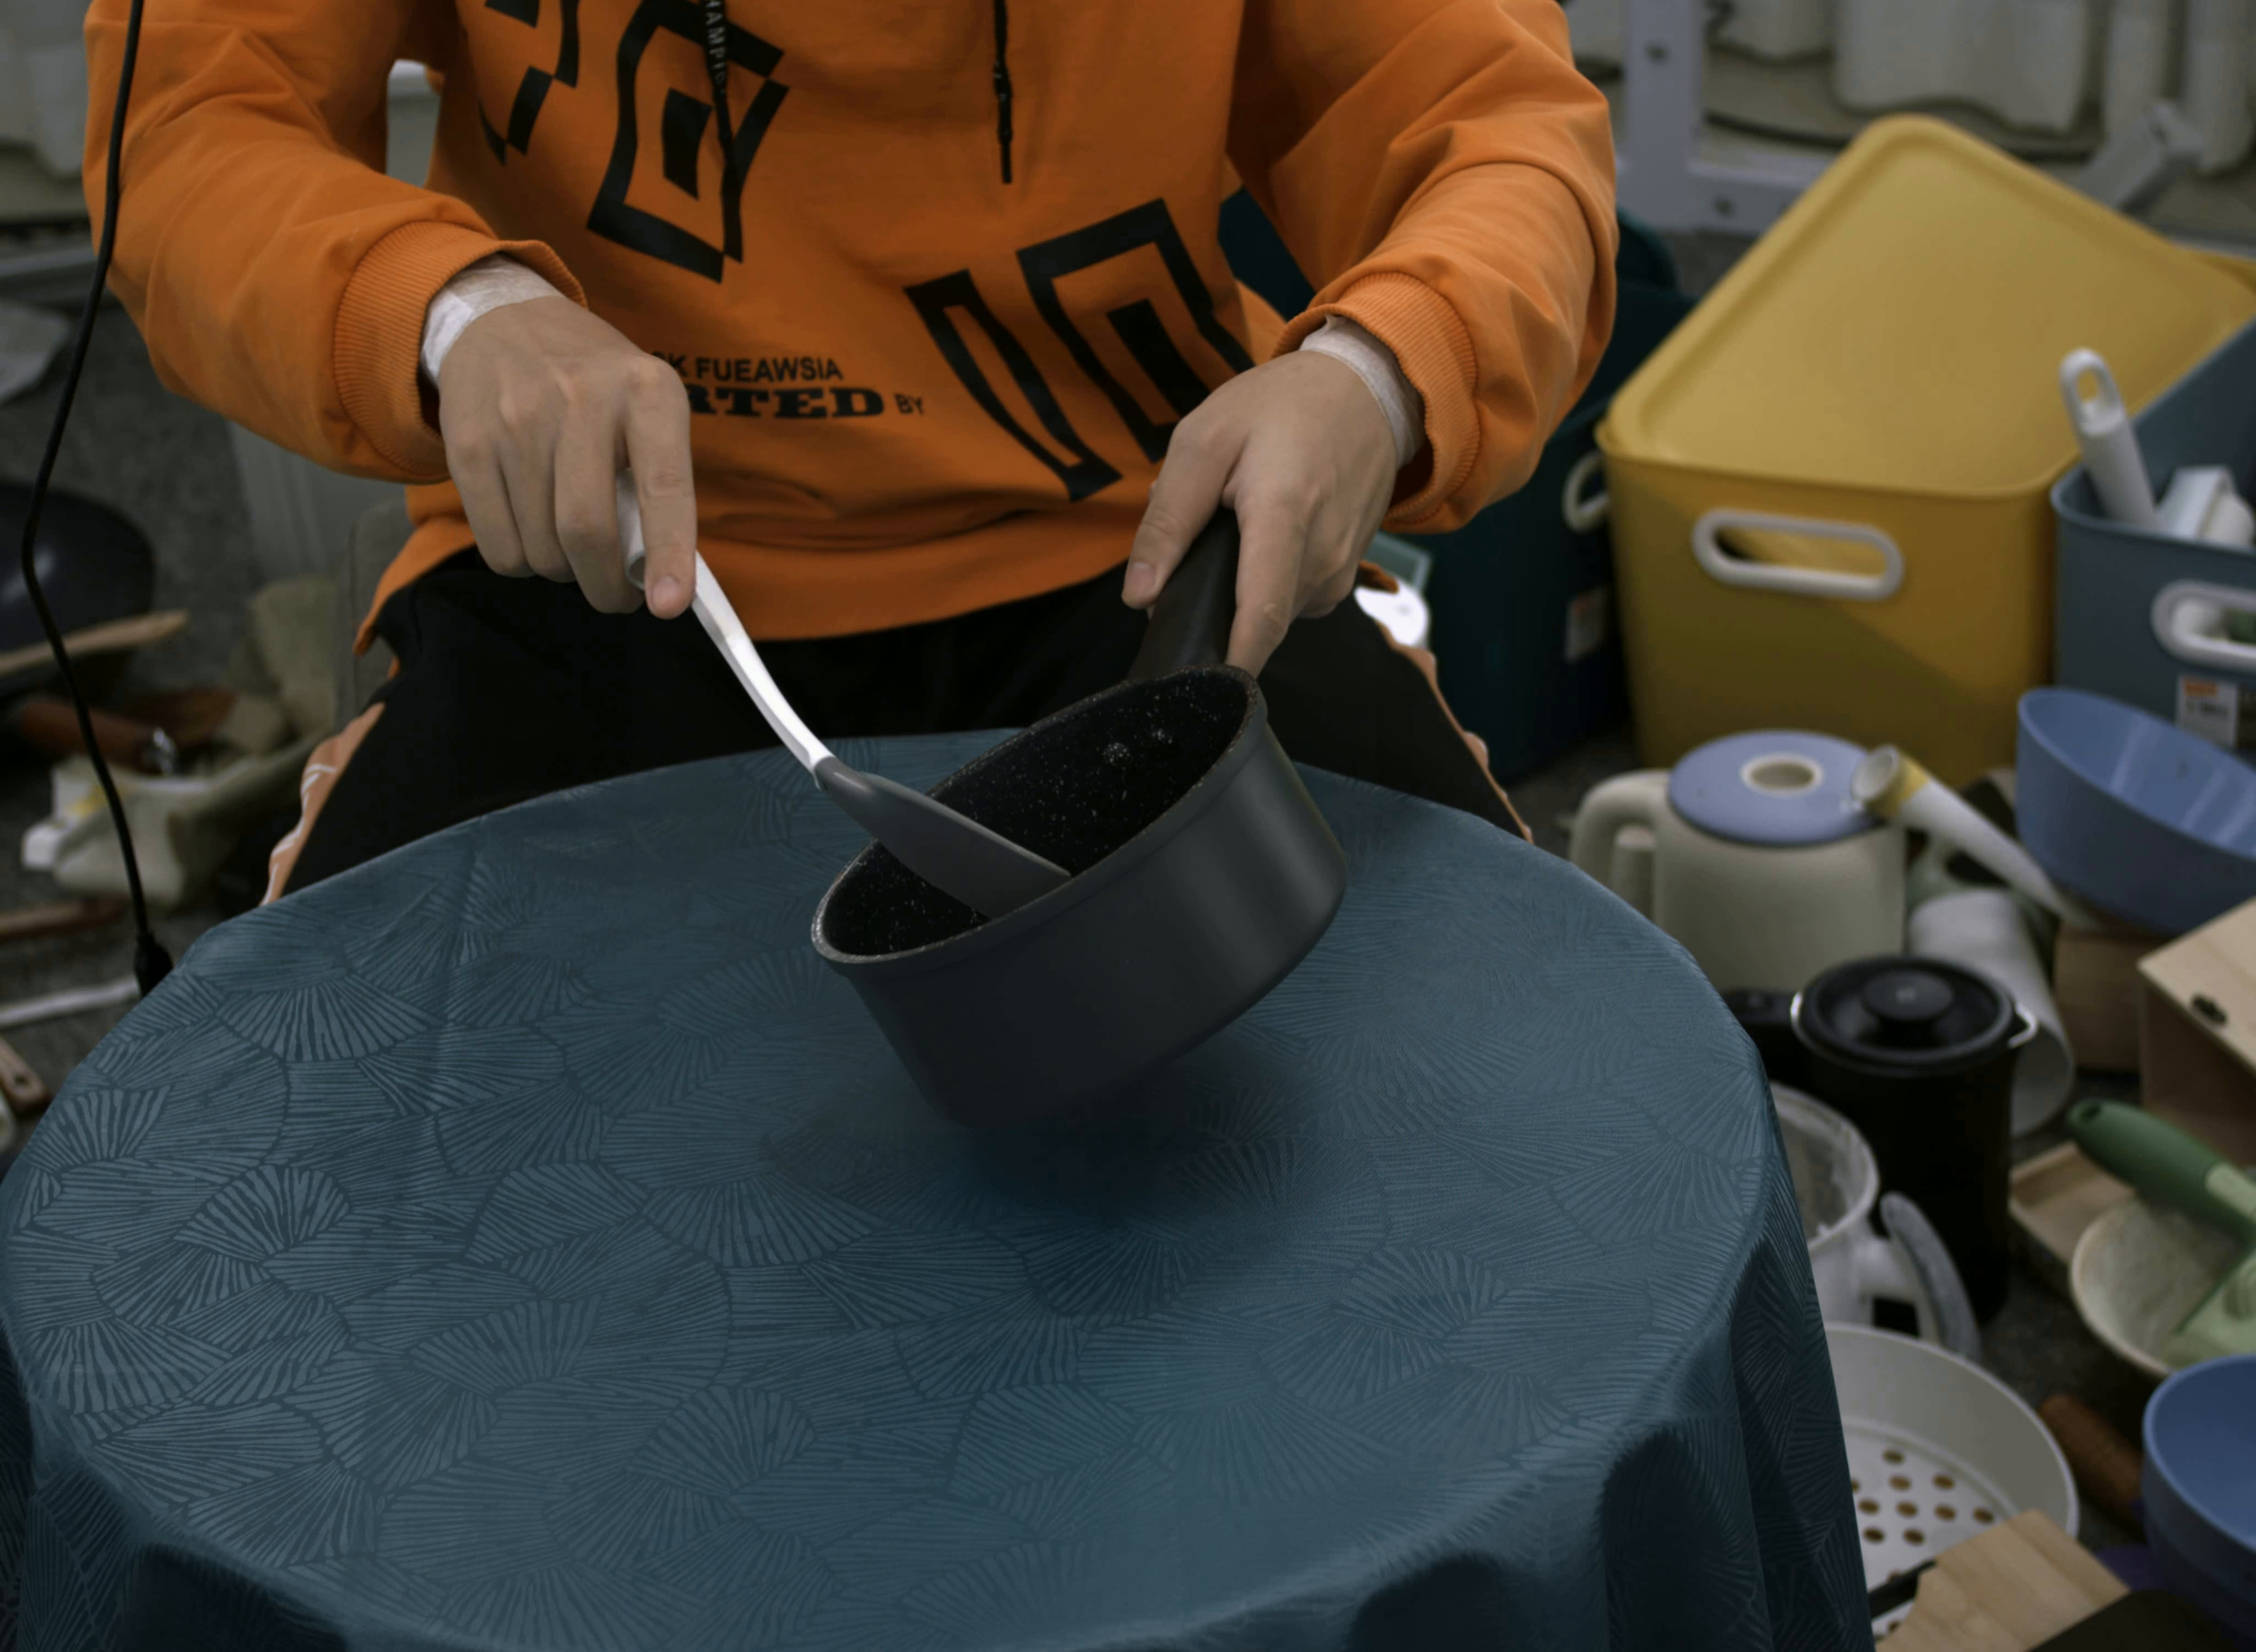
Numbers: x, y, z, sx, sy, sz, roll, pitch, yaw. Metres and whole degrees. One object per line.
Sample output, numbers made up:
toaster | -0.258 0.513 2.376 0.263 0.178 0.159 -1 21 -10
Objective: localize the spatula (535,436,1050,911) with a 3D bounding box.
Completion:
spatula | -0.112 -0.045 1.904 0.032 0.058 0.289 -32 51 -19

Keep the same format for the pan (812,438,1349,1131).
pan | 0.012 -0.019 1.935 0.169 0.086 0.335 -18 23 31
